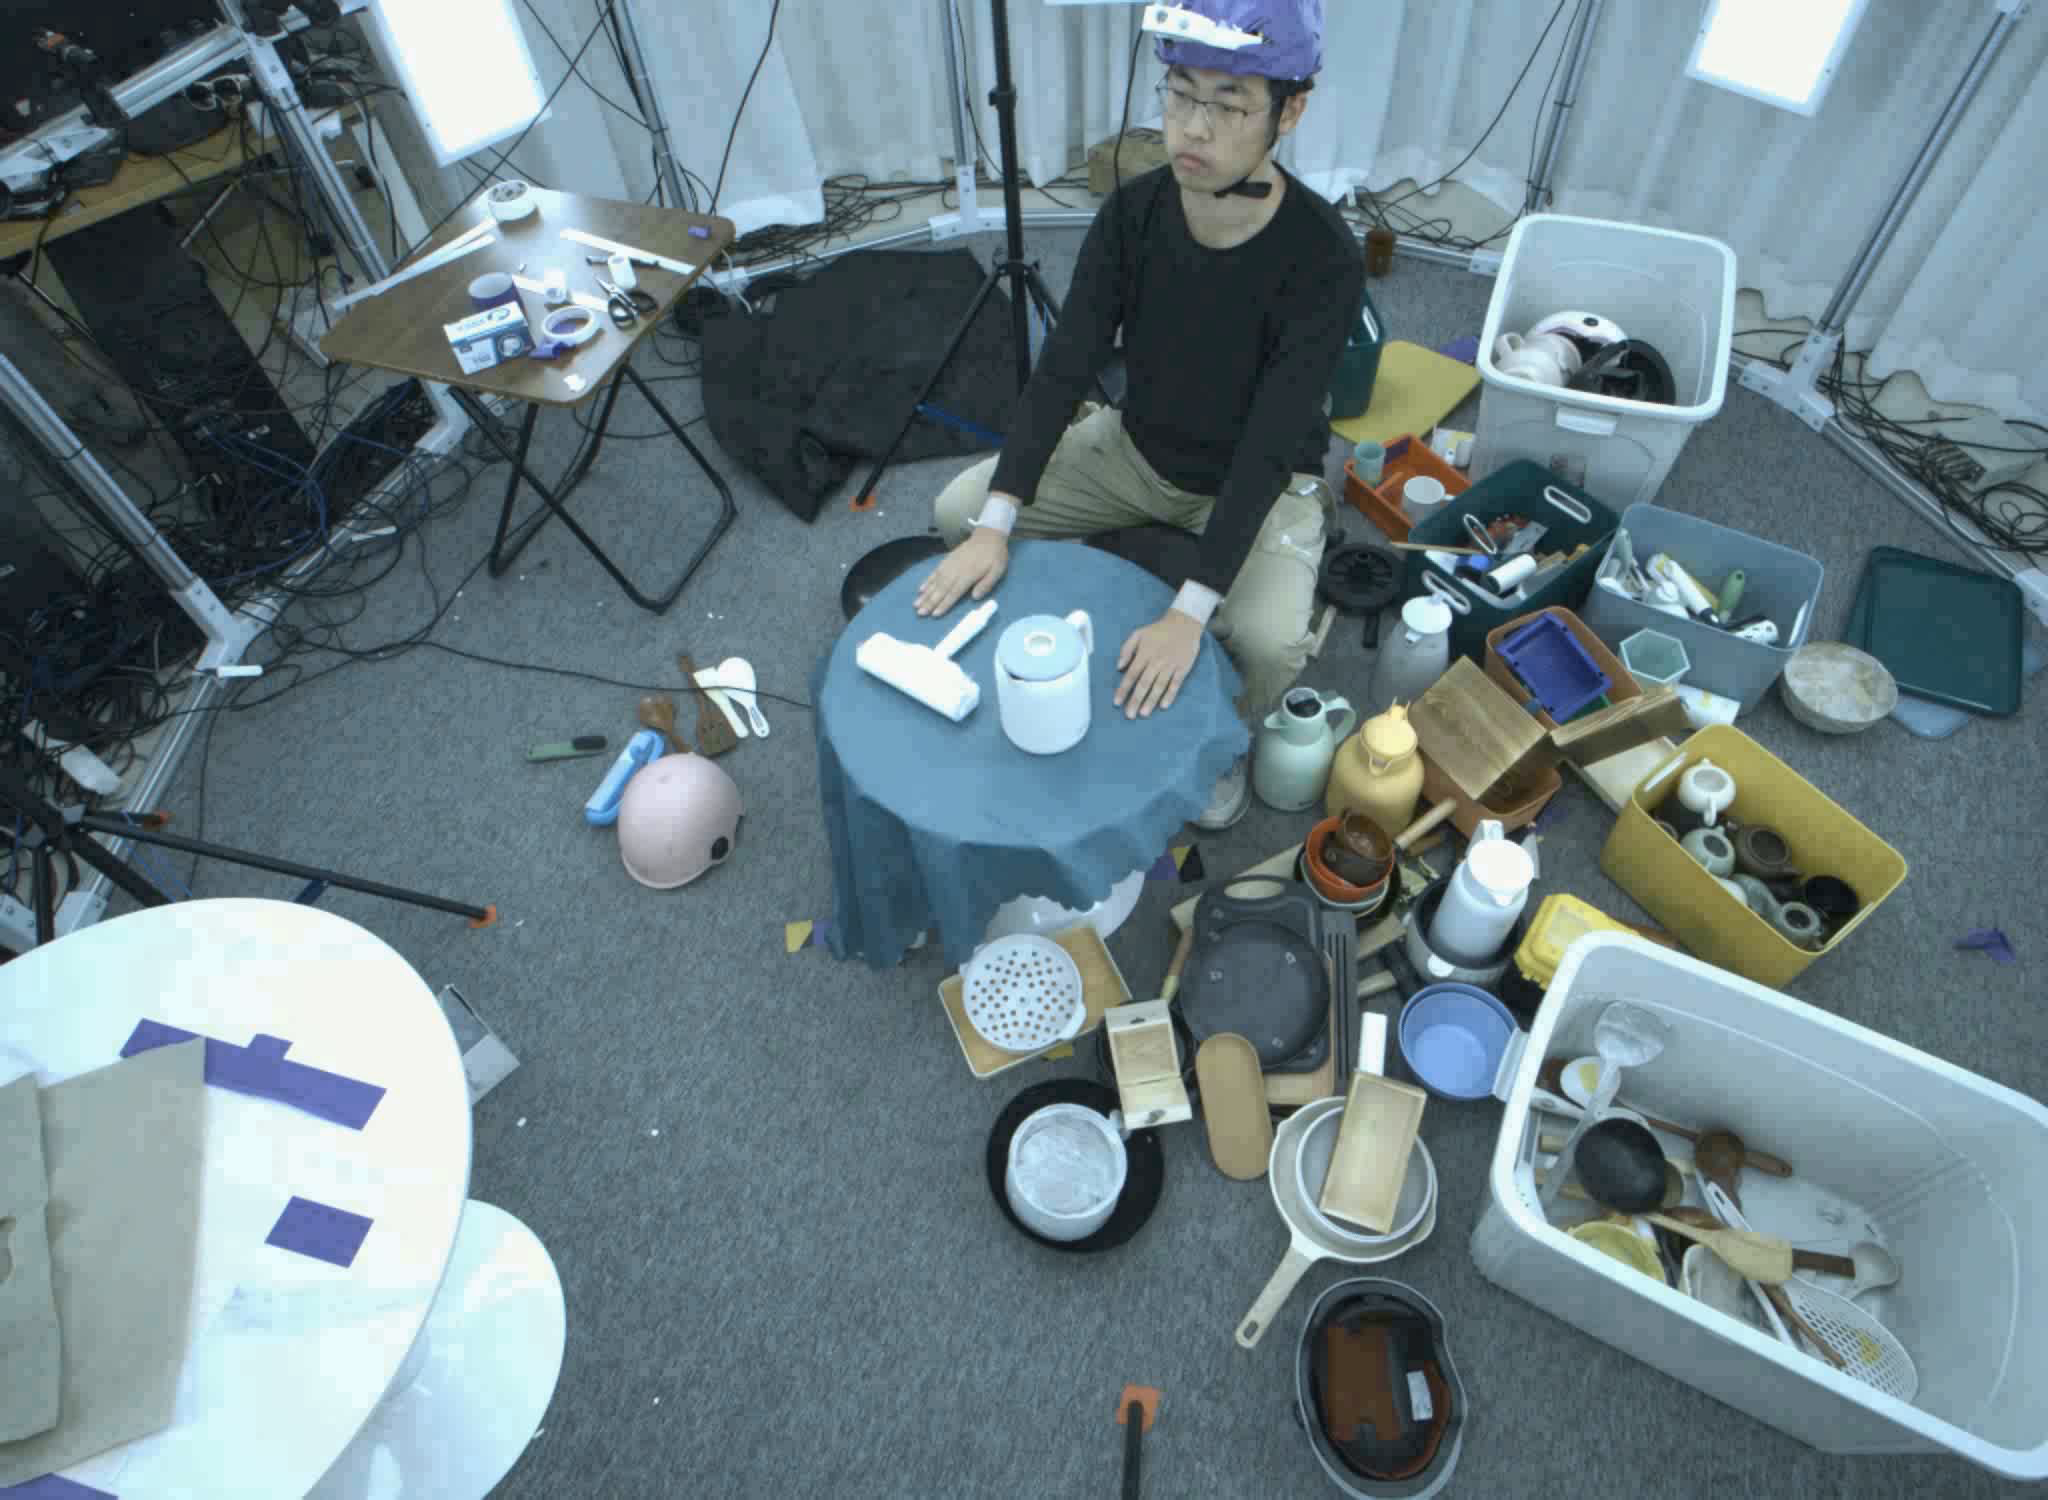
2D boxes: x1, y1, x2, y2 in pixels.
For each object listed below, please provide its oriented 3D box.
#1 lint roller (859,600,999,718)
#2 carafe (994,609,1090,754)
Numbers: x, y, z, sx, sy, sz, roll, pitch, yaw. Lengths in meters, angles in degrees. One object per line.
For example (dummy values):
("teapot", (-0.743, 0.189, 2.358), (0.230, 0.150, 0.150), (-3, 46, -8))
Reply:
("lint roller", (-0.112, -0.166, 1.882), (0.199, 0.049, 0.226), (28, 59, 22))
("carafe", (0.040, -0.109, 1.758), (0.130, 0.184, 0.192), (27, 58, 20))
